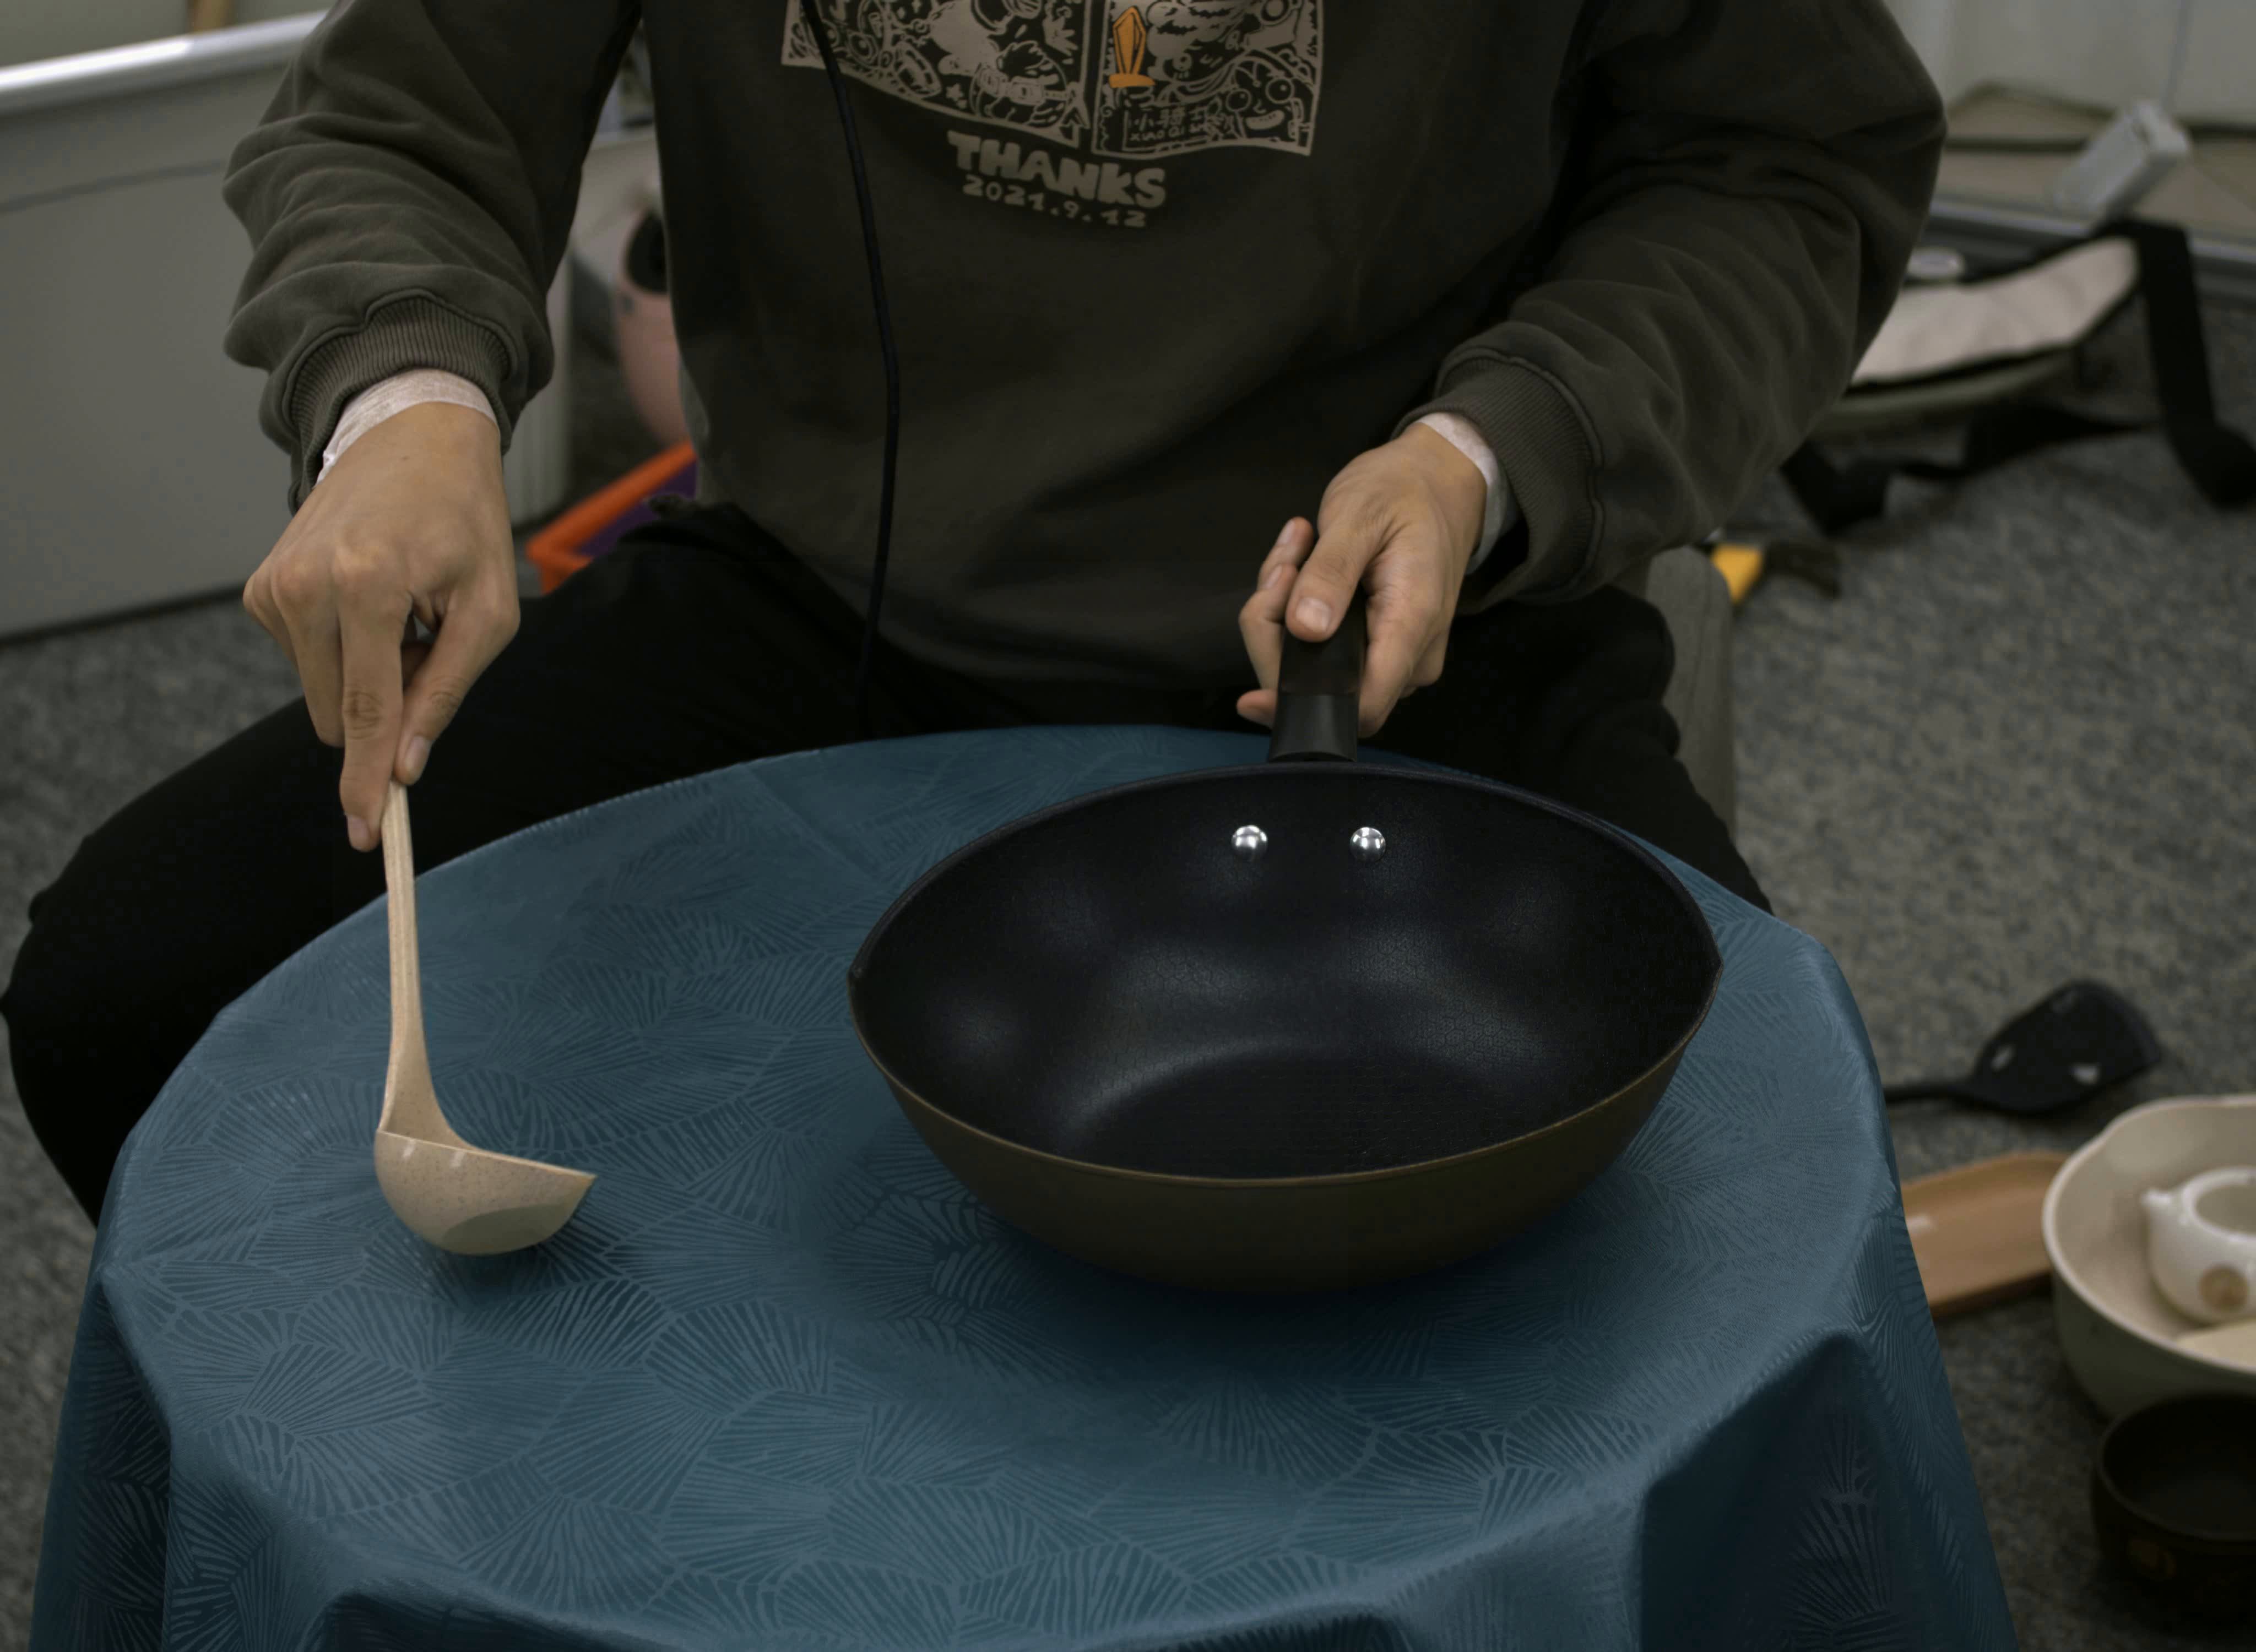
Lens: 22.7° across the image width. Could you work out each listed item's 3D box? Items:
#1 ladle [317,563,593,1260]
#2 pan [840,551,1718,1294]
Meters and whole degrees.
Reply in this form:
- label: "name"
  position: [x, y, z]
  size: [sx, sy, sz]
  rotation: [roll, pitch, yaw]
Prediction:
- label: "ladle"
  position: [-0.227, 0.018, 1.866]
  size: [0.071, 0.258, 0.072]
  rotation: [-26, -26, 38]
- label: "pan"
  position: [0.058, 0.035, 1.931]
  size: [0.286, 0.086, 0.471]
  rotation: [0, 27, 6]
